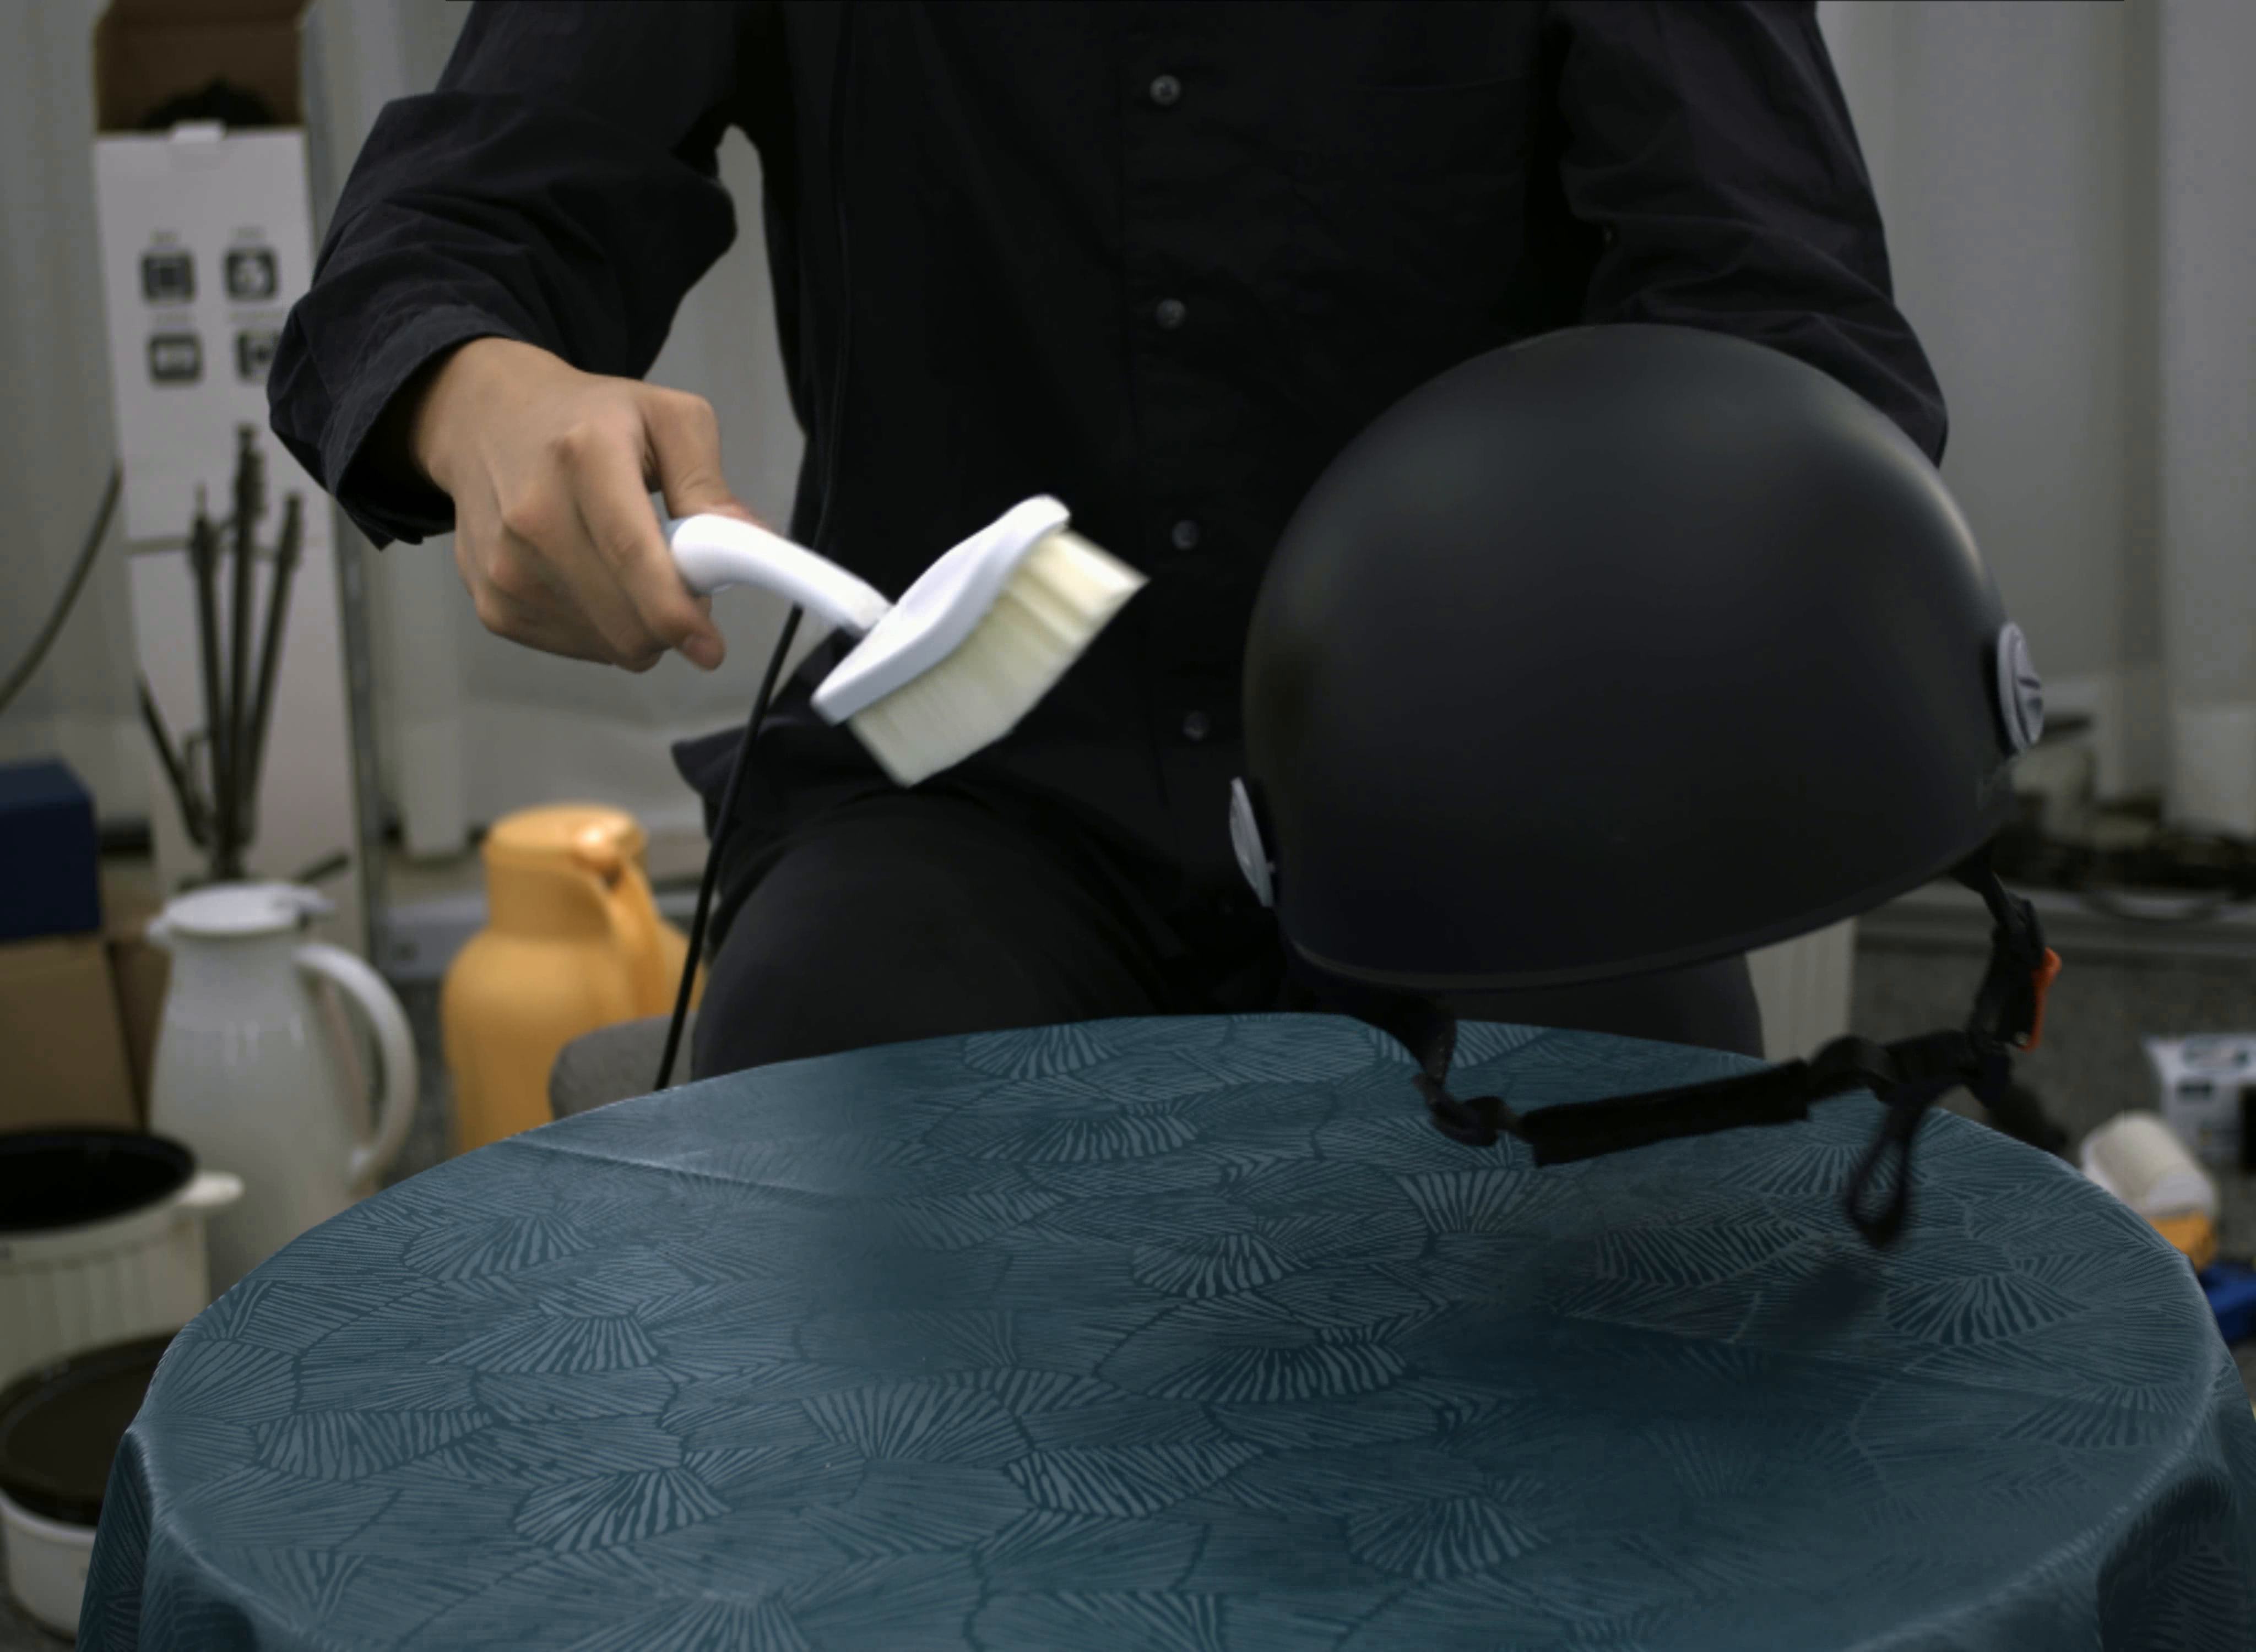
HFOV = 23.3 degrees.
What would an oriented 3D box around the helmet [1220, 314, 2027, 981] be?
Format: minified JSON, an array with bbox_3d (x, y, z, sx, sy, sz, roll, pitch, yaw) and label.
[{"bbox_3d":[0.134,-0.059,1.563,0.229,0.166,0.274,-13,9,11],"label":"helmet"}]

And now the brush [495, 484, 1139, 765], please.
[{"bbox_3d":[-0.088,-0.060,1.652,0.083,0.084,0.326,-10,4,-32],"label":"brush"}]
